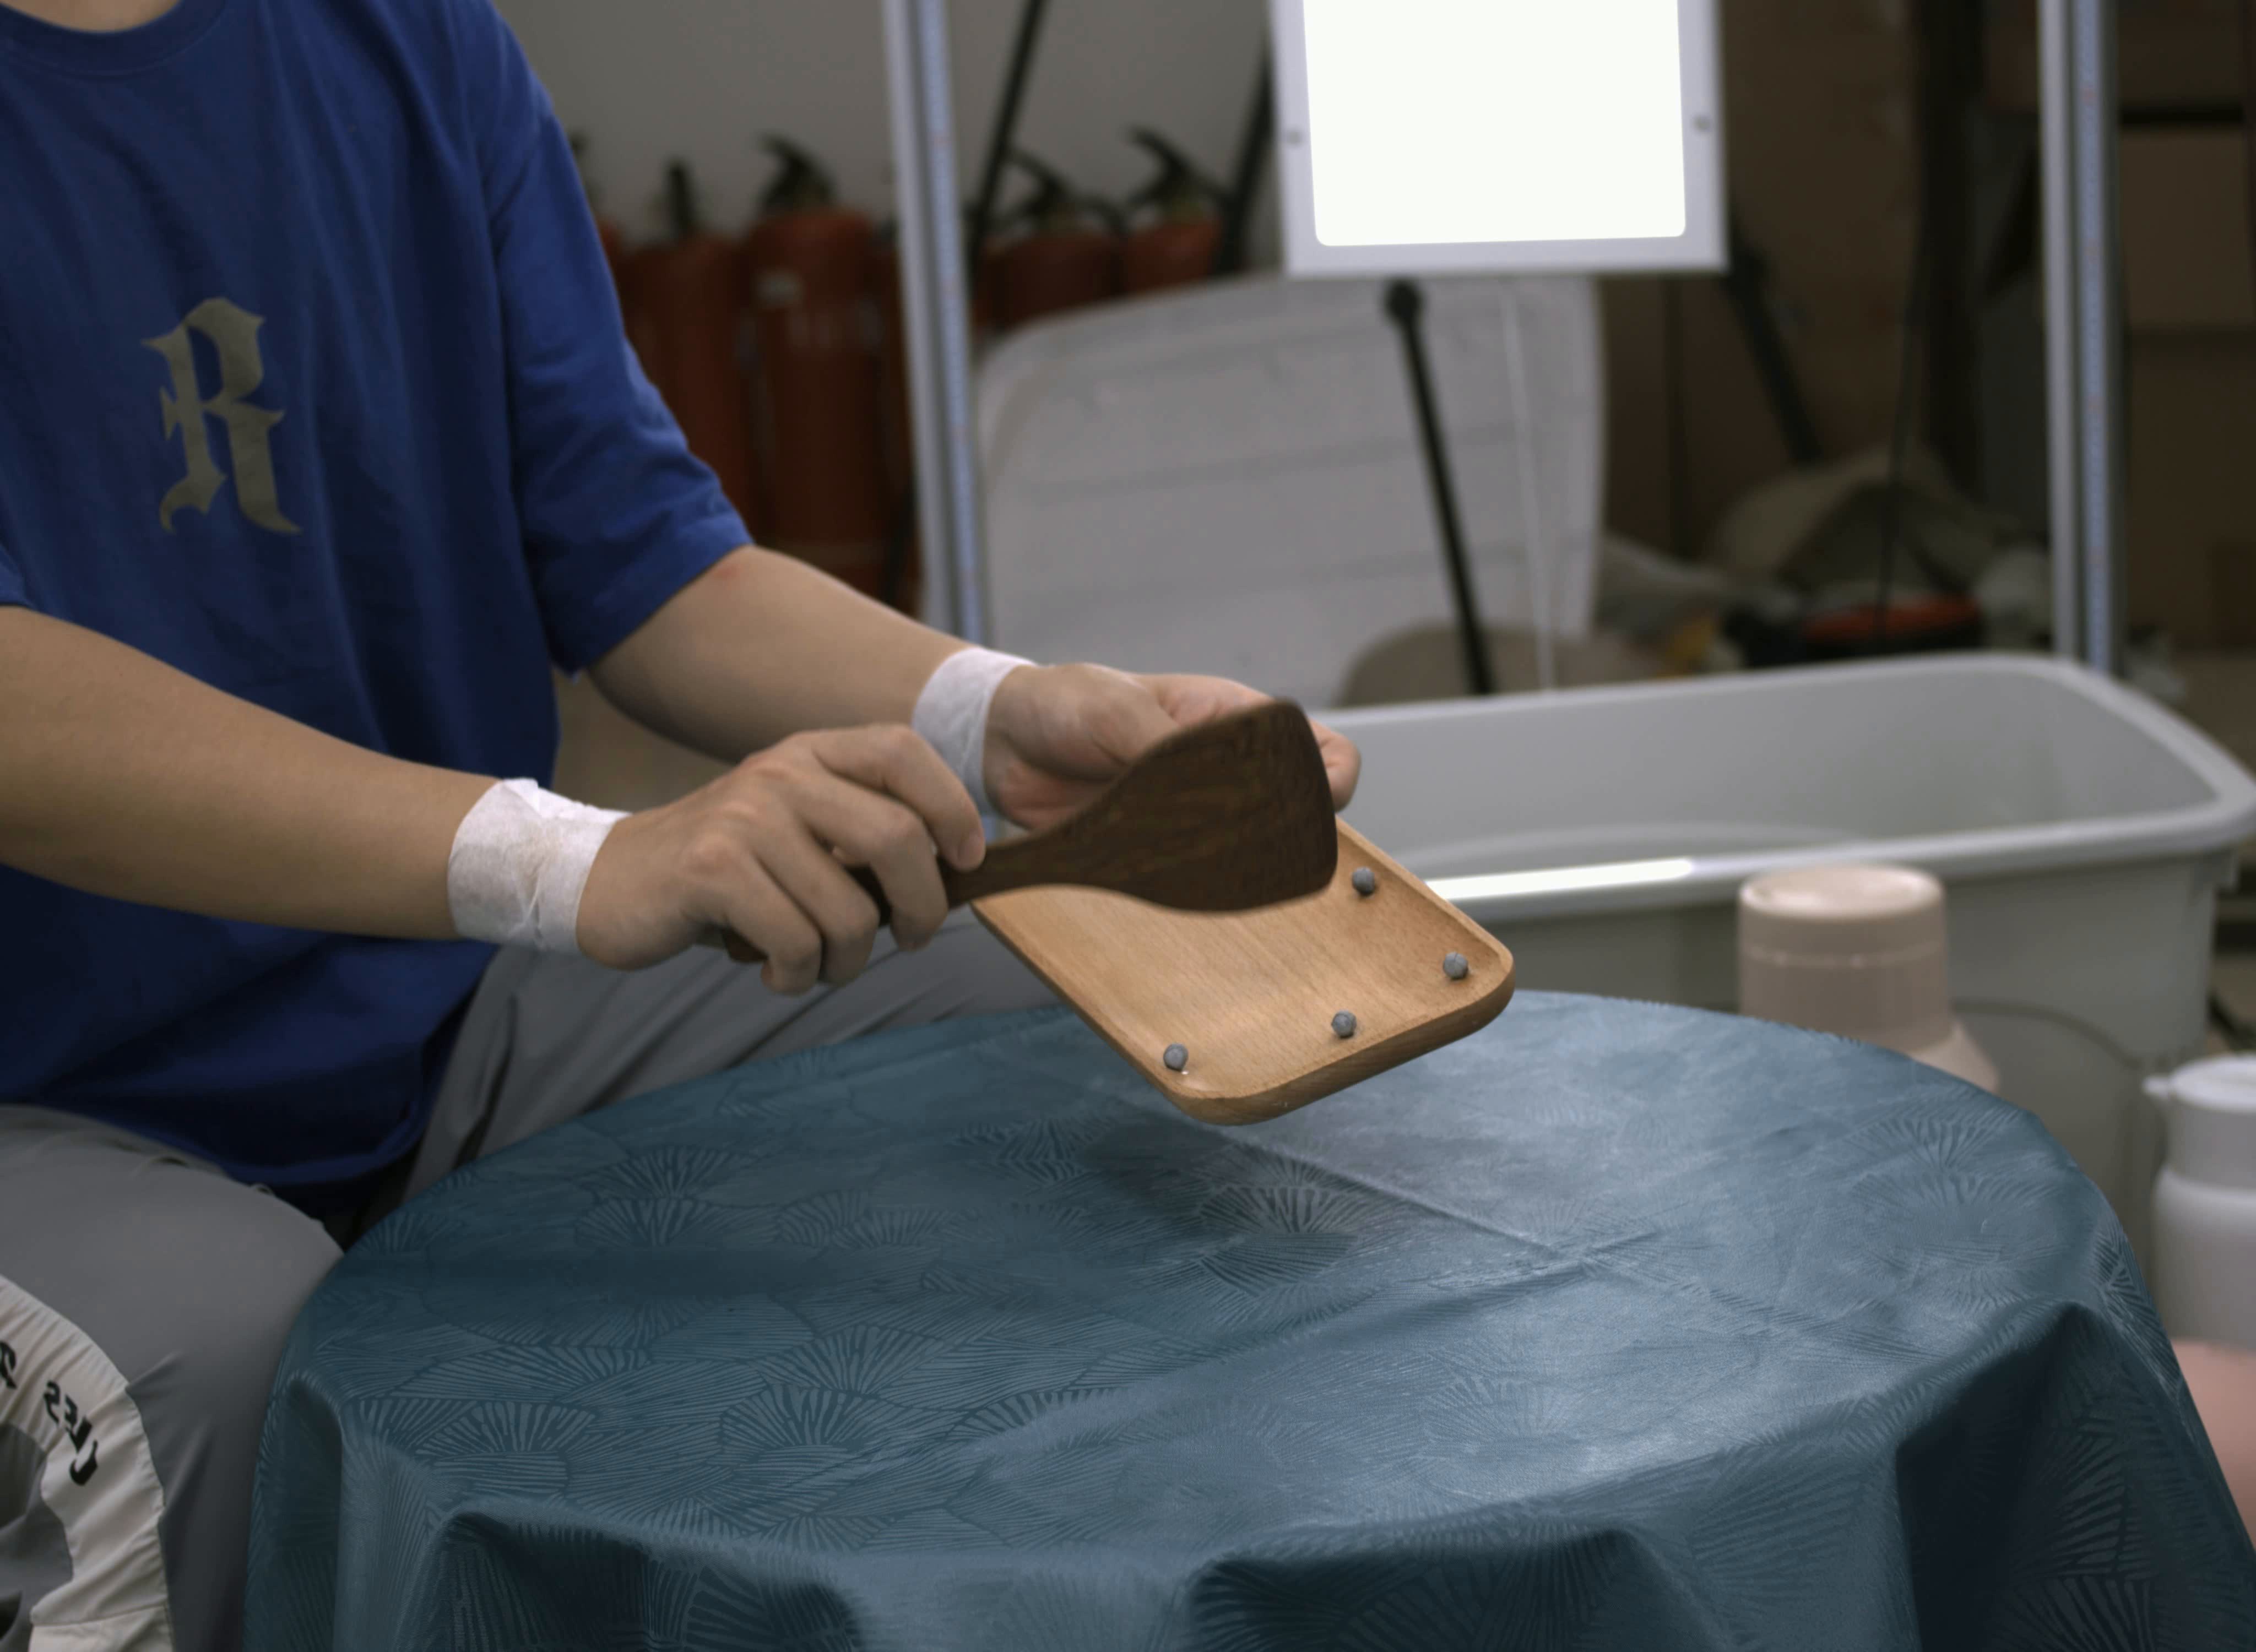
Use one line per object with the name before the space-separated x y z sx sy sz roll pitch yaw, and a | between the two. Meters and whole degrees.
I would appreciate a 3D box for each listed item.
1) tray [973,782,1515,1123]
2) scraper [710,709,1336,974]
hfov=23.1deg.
tray | 0.036 0.037 1.913 0.129 0.023 0.253 -20 24 -13
scraper | -0.036 0.016 1.829 0.212 0.076 0.011 -13 24 7
